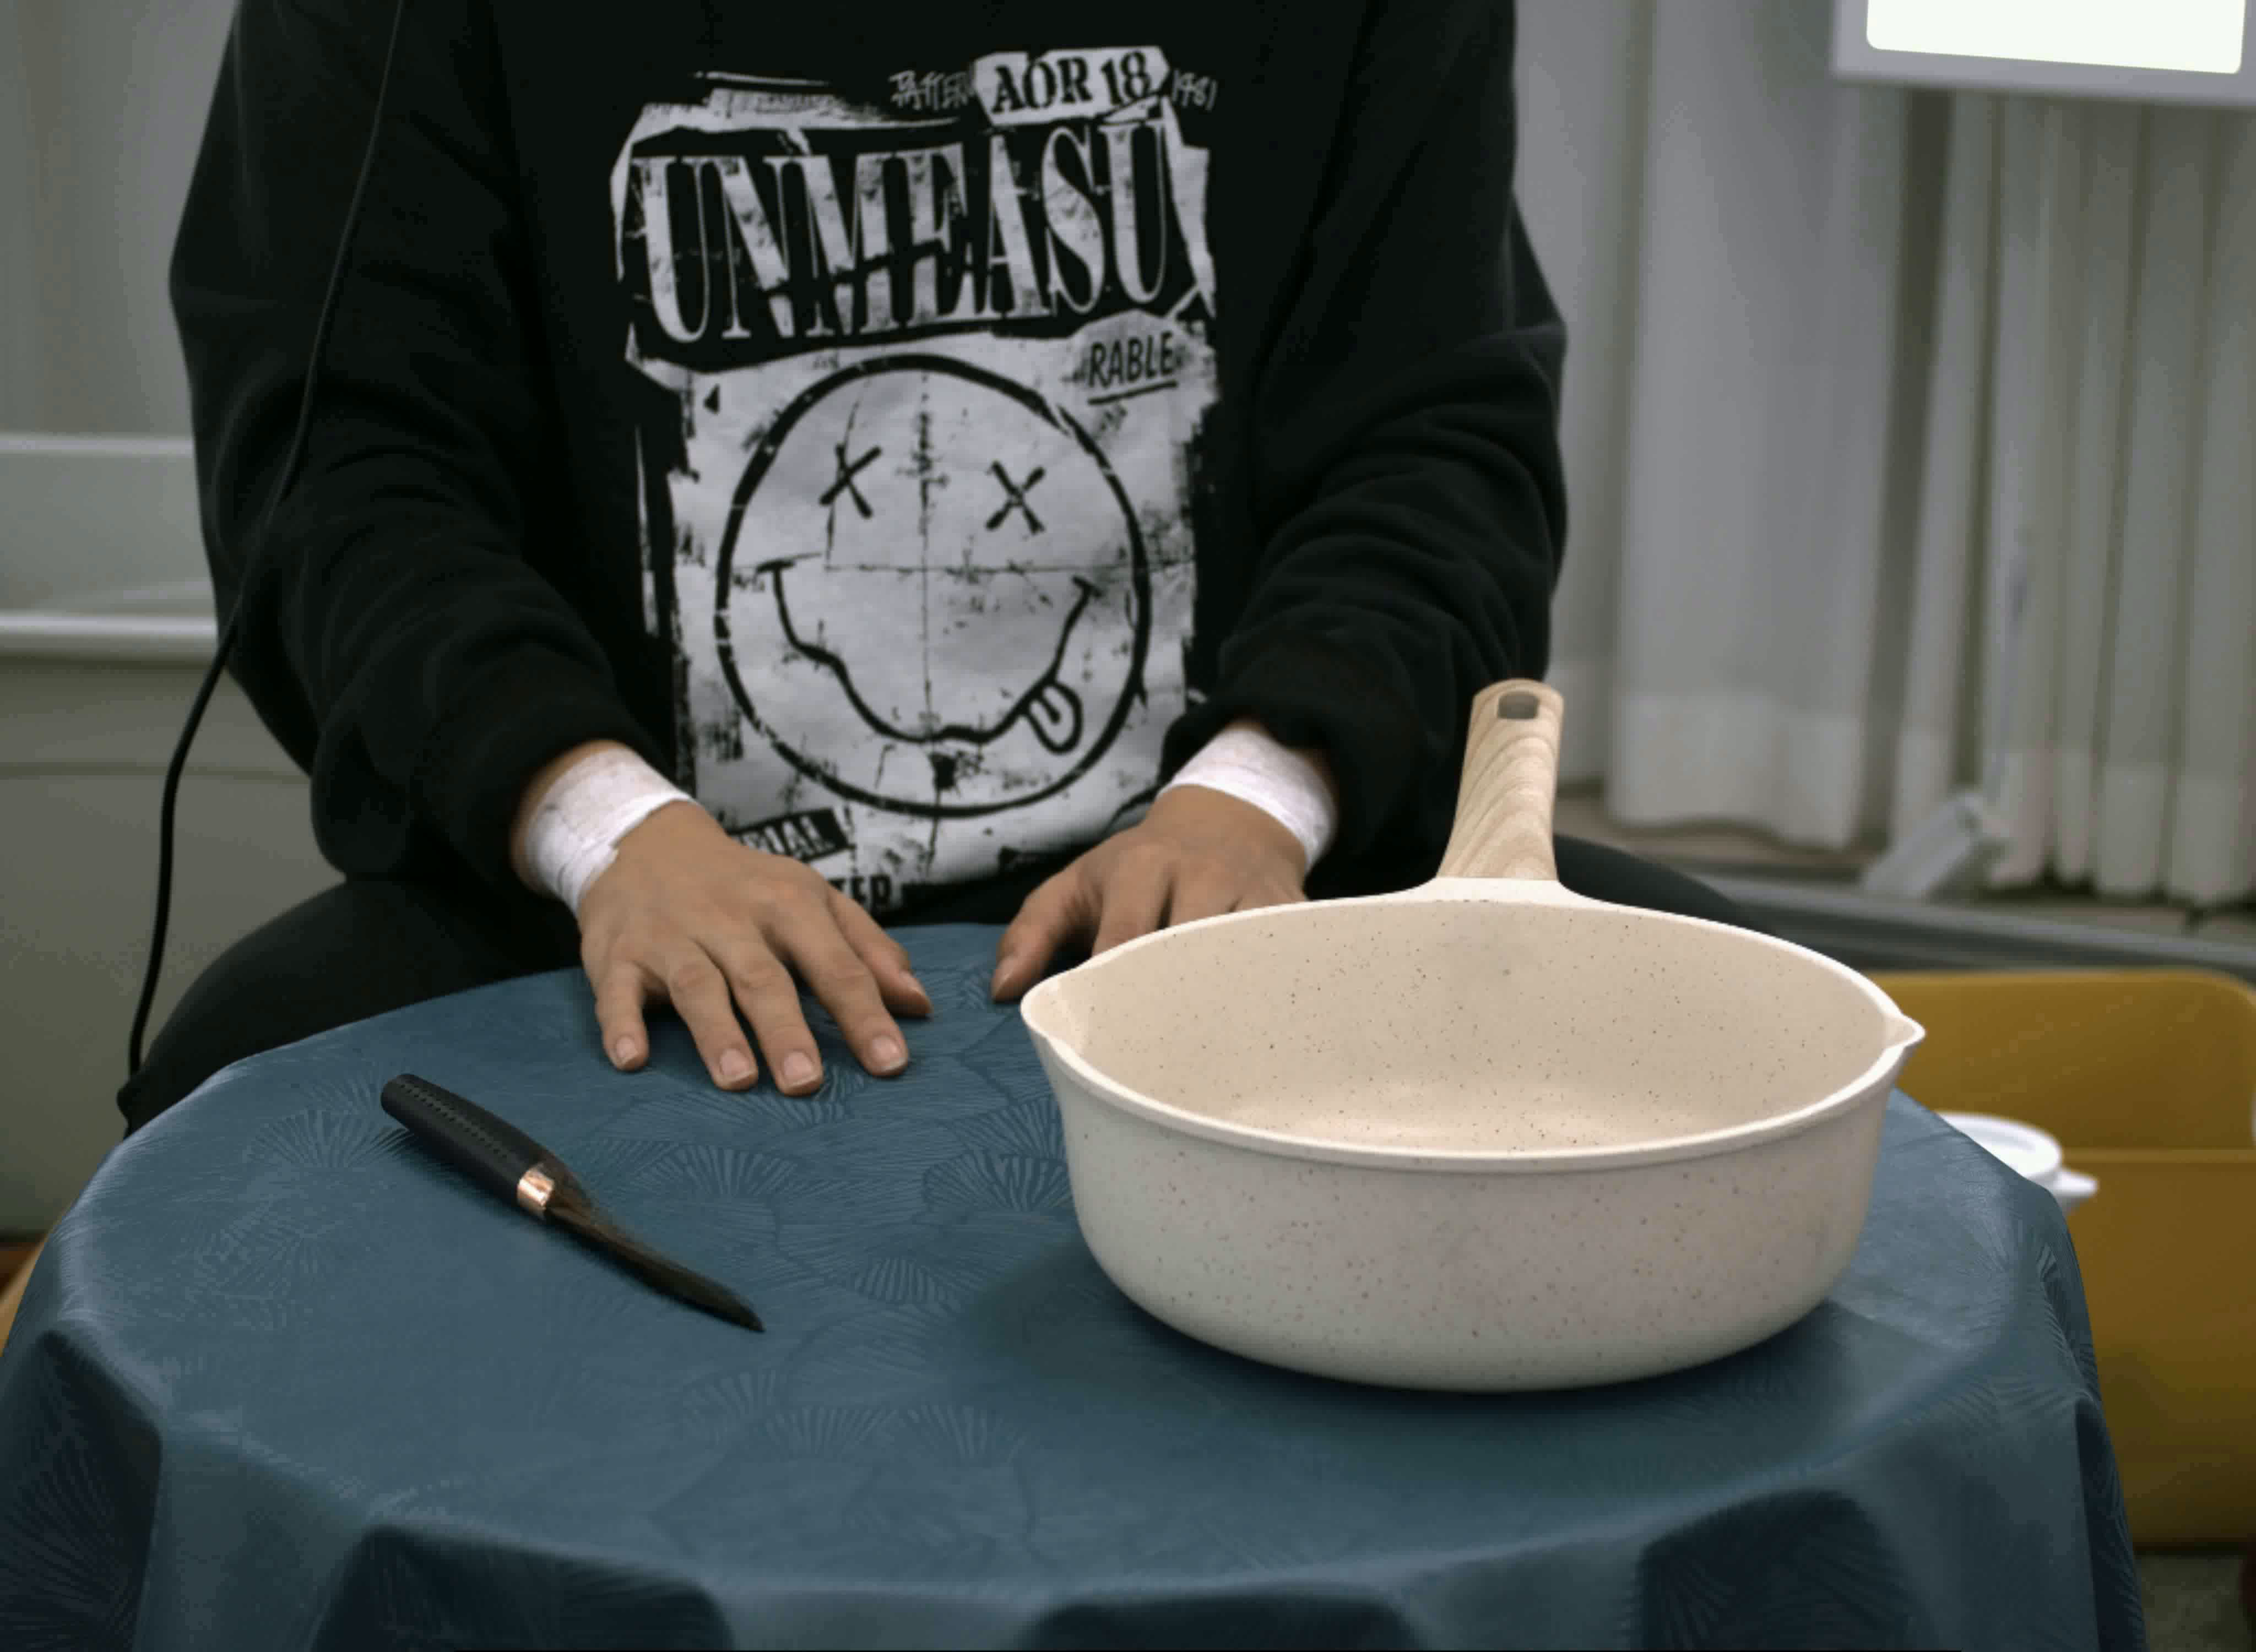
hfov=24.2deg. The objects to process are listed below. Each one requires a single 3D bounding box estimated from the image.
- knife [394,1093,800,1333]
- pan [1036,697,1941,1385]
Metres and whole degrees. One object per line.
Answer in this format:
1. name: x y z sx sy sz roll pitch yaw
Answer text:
1. knife: -0.163 0.116 1.587 0.026 0.017 0.222 9 9 -38
2. pan: 0.114 0.061 1.625 0.262 0.103 0.433 0 15 5
